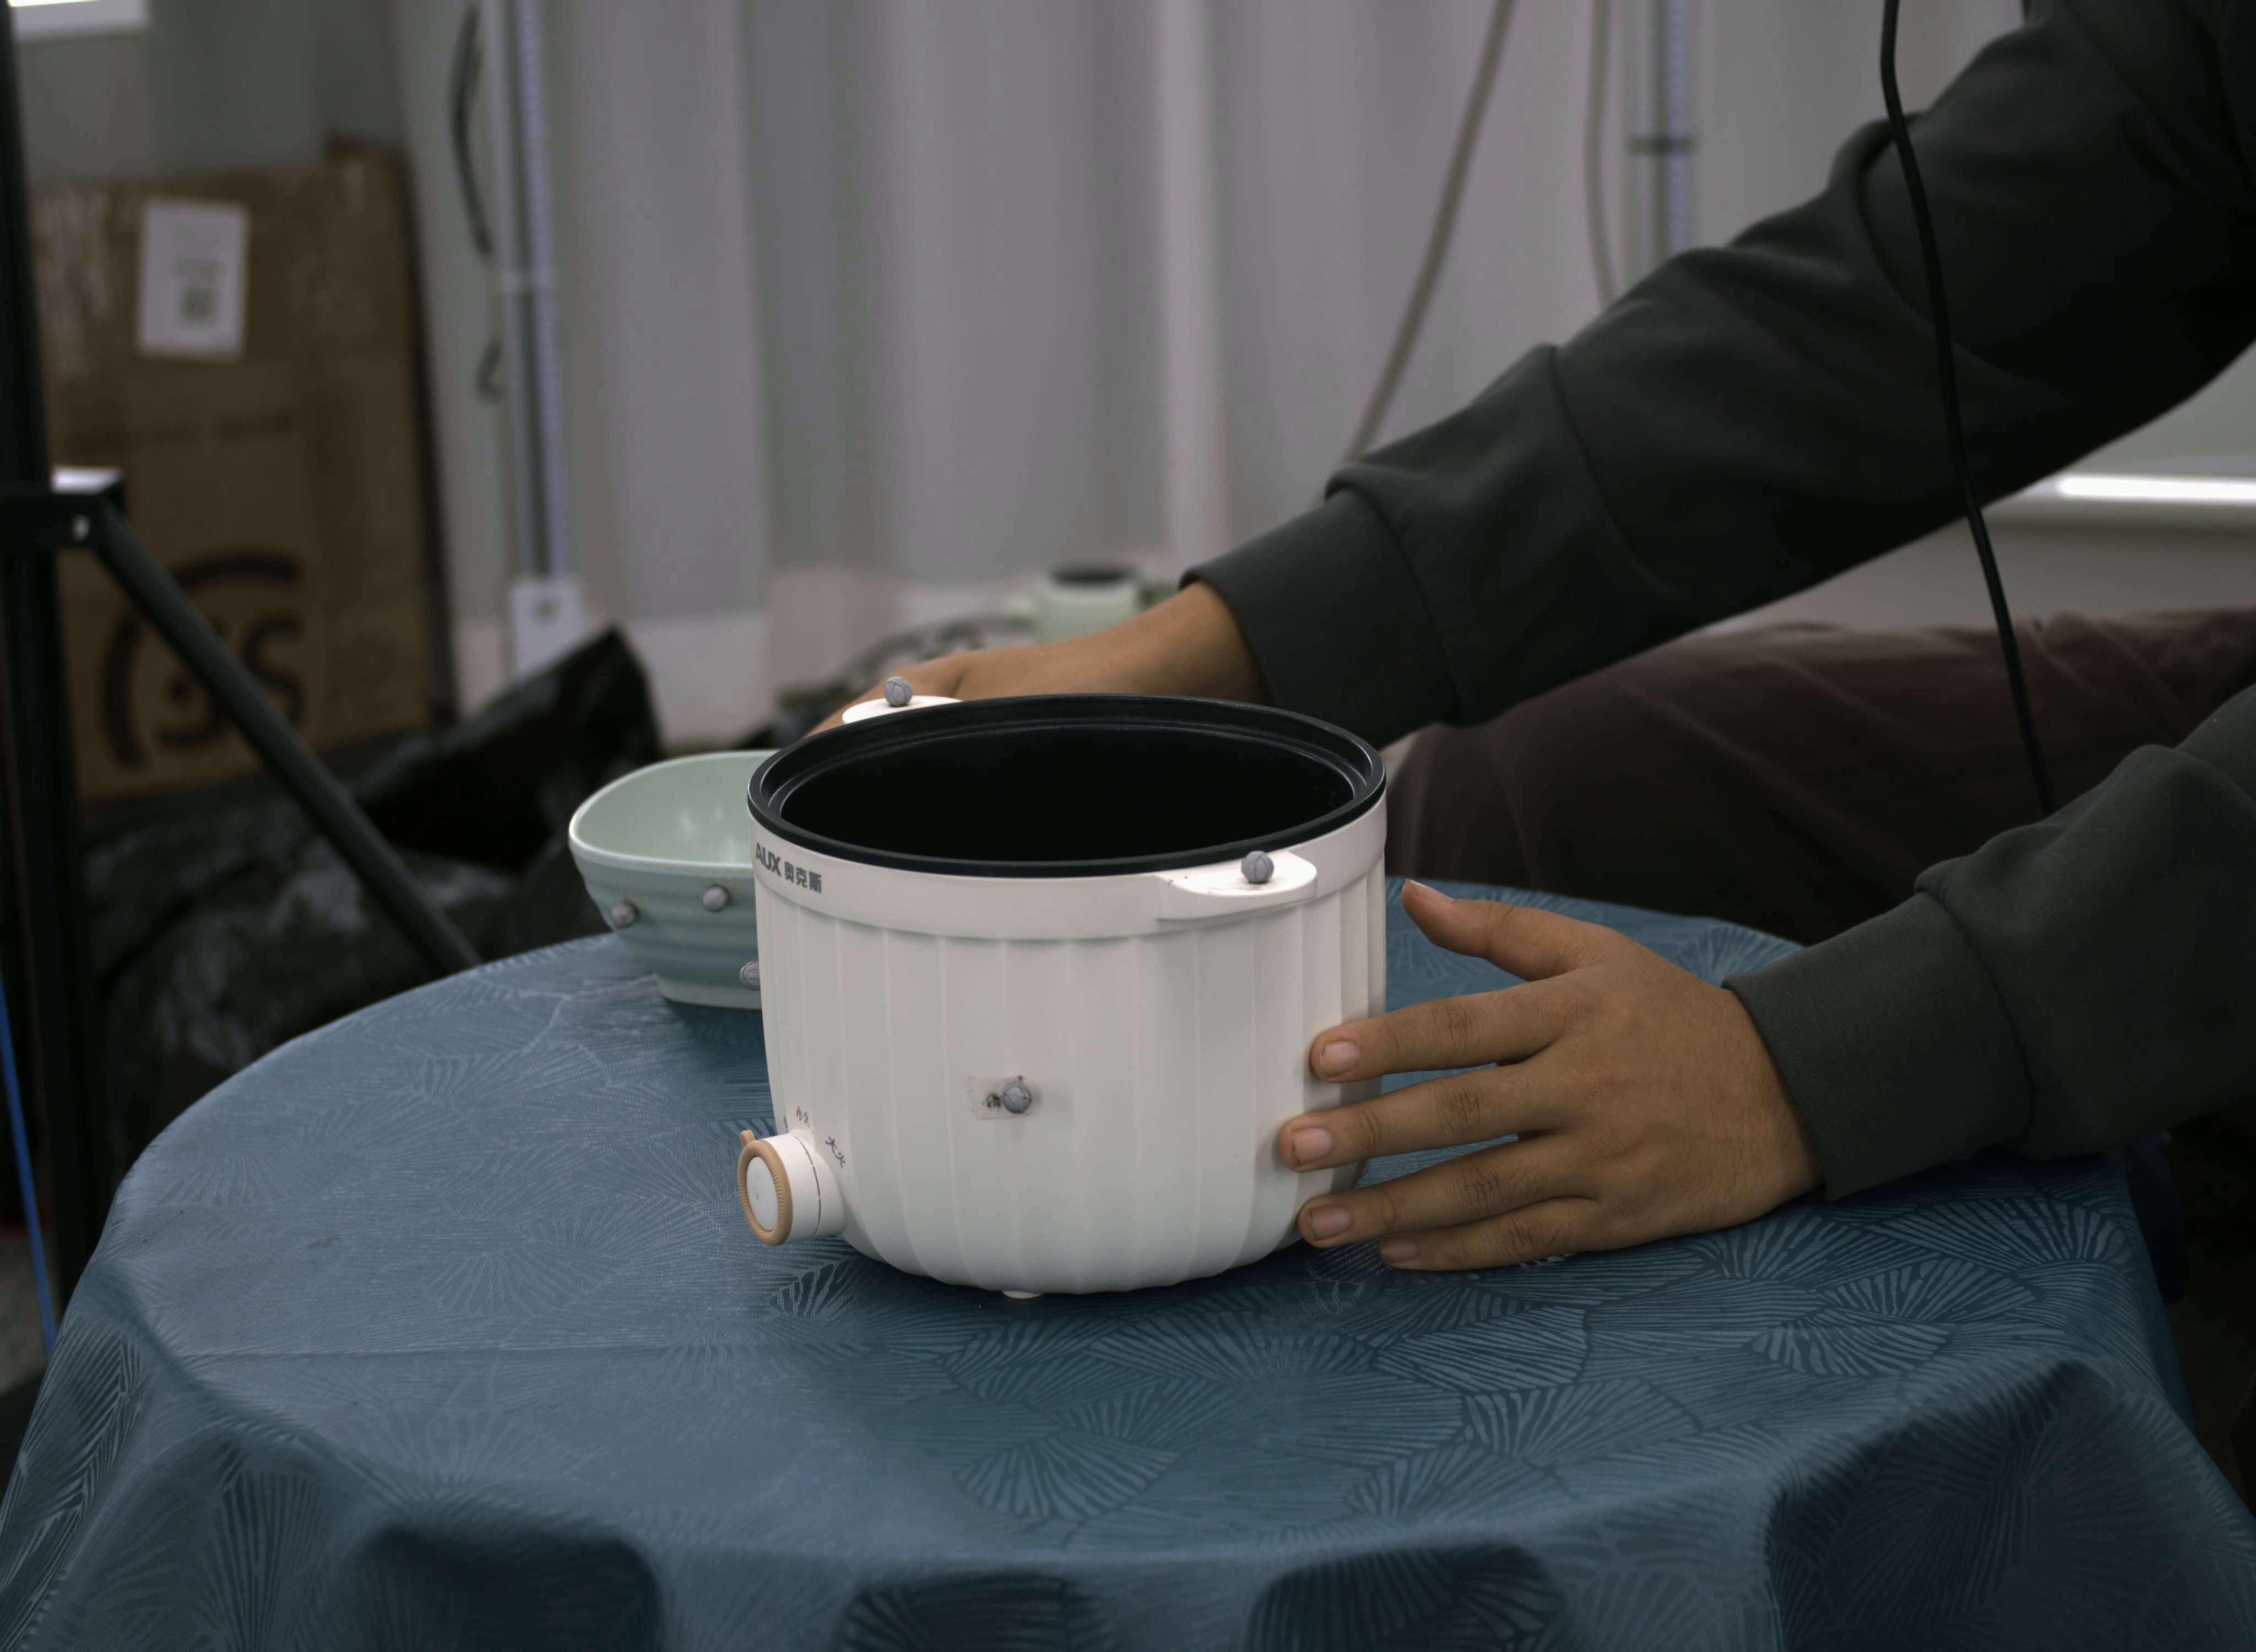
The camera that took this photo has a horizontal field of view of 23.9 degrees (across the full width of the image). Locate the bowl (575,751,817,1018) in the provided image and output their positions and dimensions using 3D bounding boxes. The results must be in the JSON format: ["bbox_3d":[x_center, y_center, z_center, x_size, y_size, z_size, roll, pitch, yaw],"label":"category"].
[{"bbox_3d":[-0.111,0.023,1.773,0.151,0.058,0.152,-3,17,-1],"label":"bowl"}]

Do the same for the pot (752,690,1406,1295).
[{"bbox_3d":[-0.016,0.049,1.510,0.186,0.143,0.245,-7,14,-28],"label":"pot"}]
